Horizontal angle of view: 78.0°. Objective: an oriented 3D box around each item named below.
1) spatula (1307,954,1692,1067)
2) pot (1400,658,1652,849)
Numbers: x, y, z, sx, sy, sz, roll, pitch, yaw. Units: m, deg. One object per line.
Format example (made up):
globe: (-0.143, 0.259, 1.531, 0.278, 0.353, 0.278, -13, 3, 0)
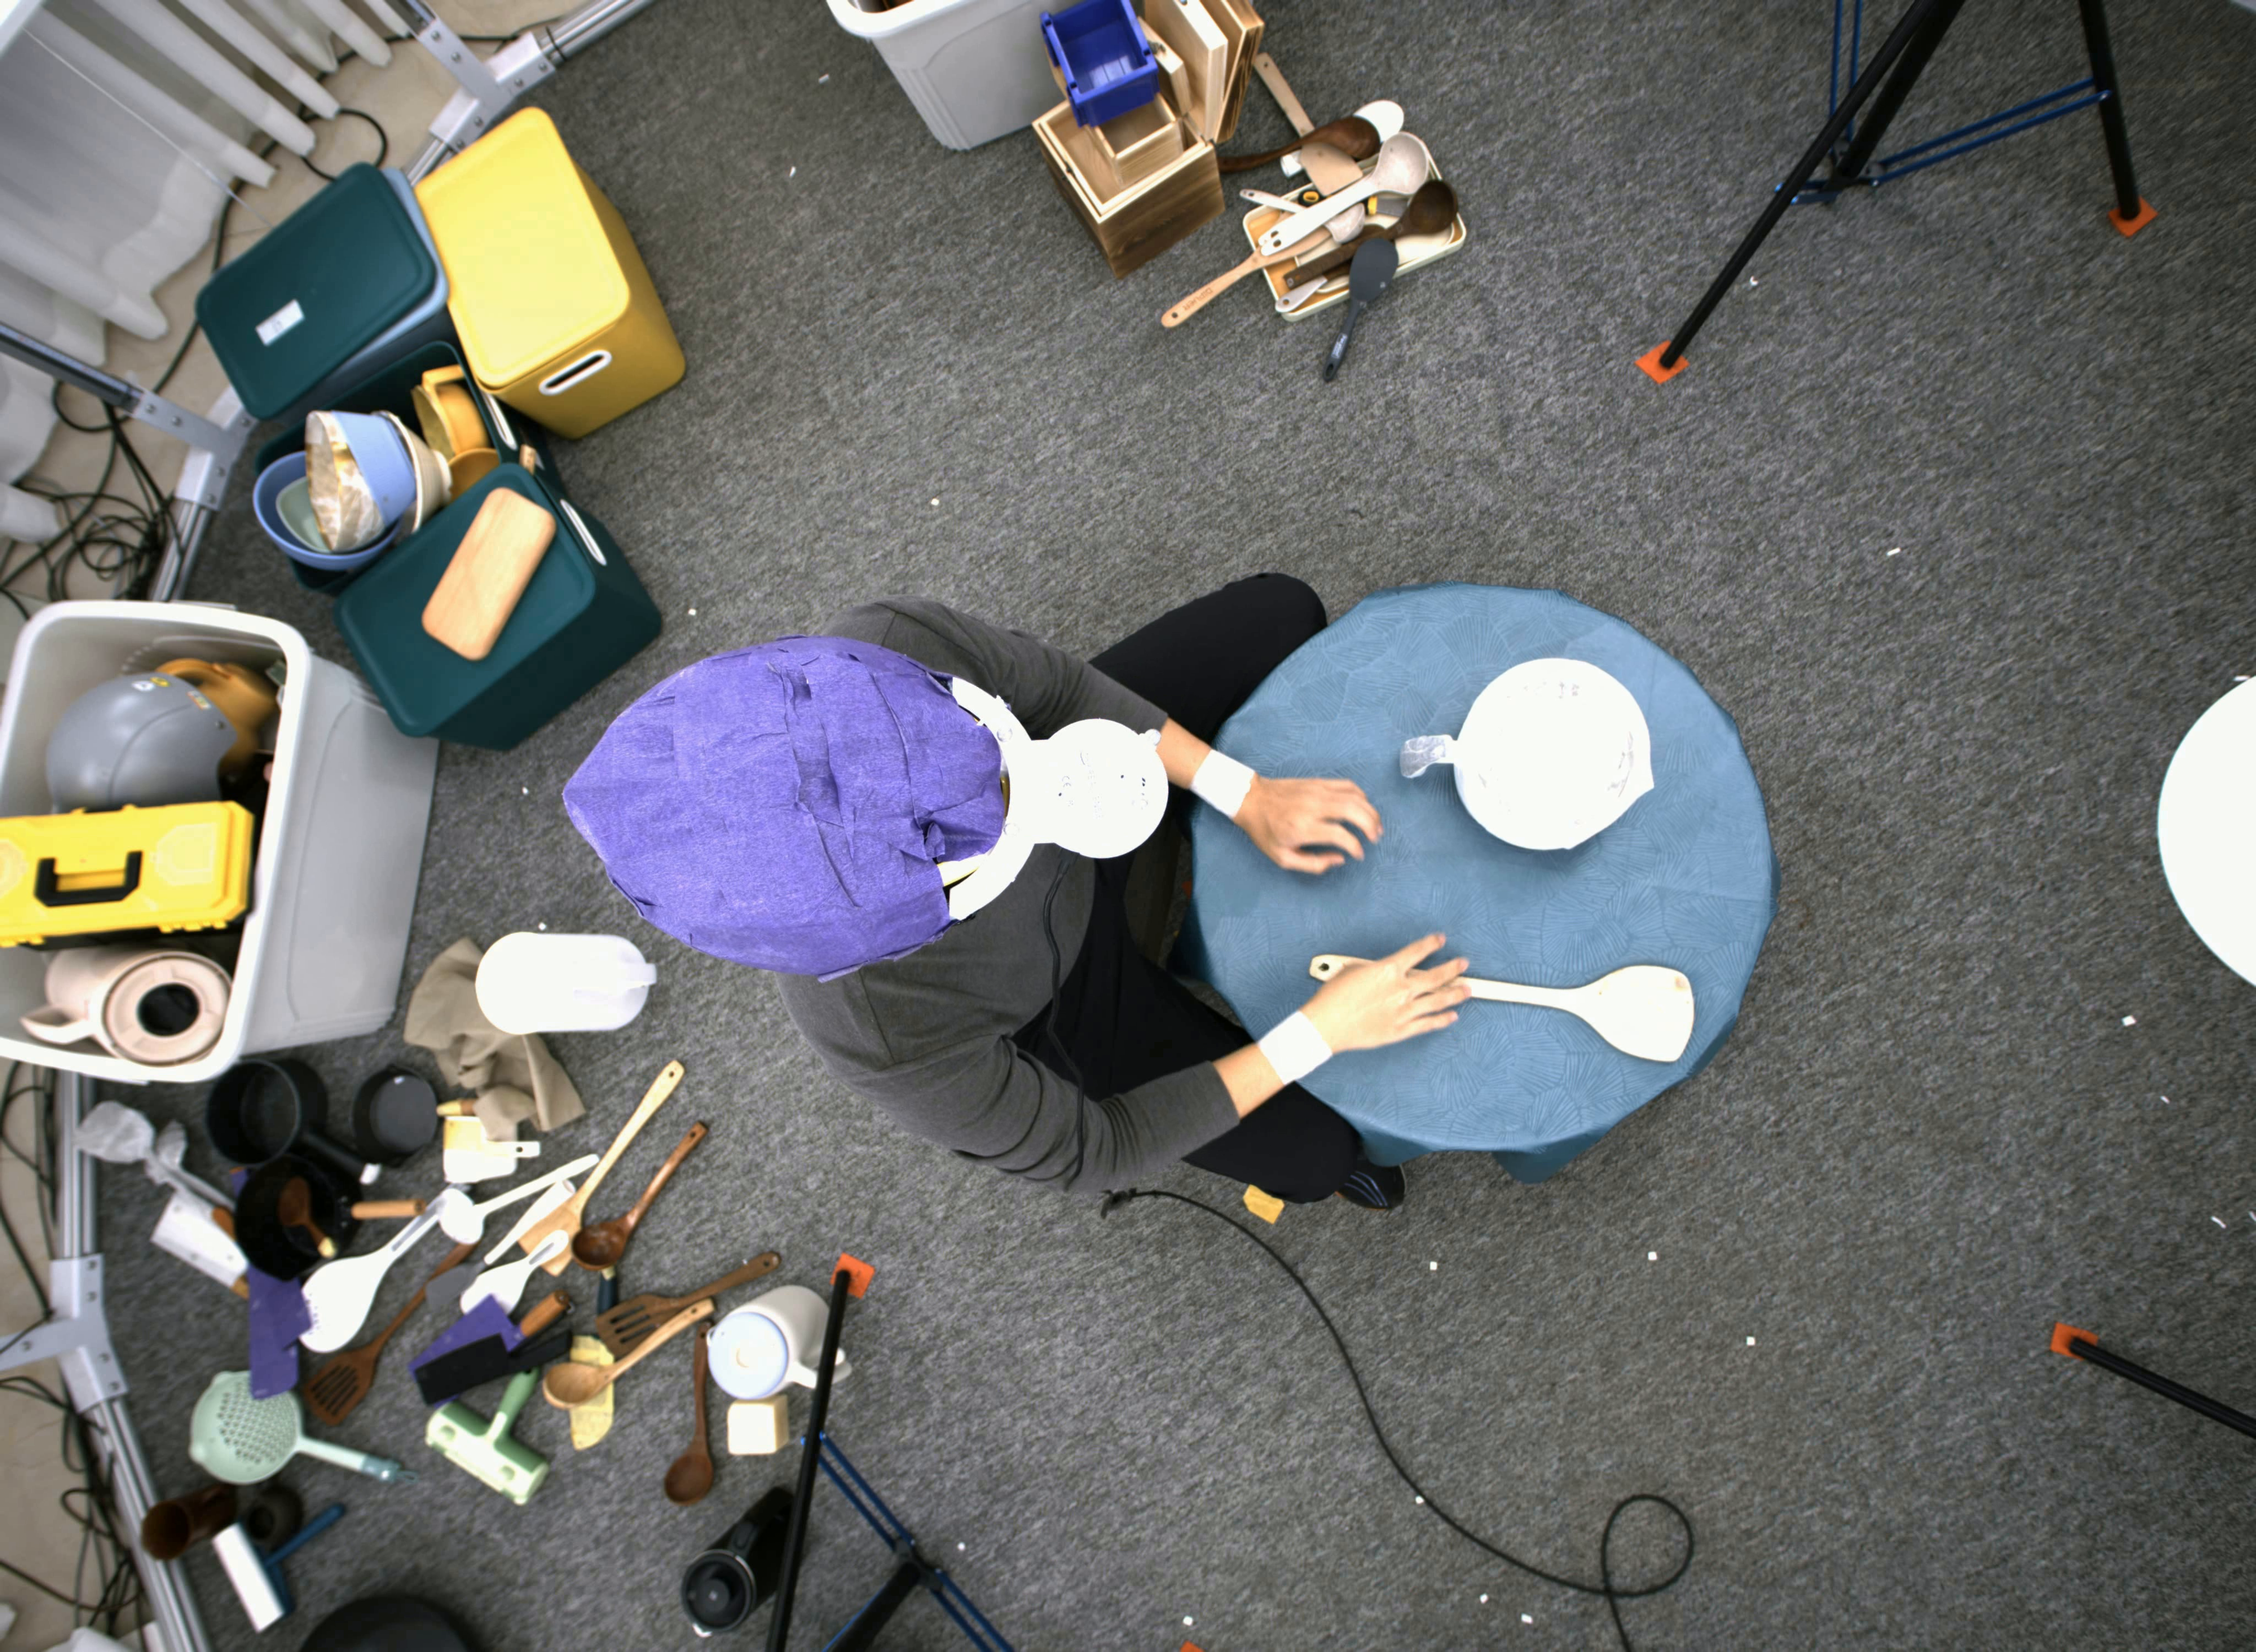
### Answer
spatula: (0.379, 0.173, 1.425, 0.392, 0.018, 0.095, 7, 86, 11)
pot: (0.392, -0.070, 1.375, 0.234, 0.137, 0.178, 1, 85, 11)
